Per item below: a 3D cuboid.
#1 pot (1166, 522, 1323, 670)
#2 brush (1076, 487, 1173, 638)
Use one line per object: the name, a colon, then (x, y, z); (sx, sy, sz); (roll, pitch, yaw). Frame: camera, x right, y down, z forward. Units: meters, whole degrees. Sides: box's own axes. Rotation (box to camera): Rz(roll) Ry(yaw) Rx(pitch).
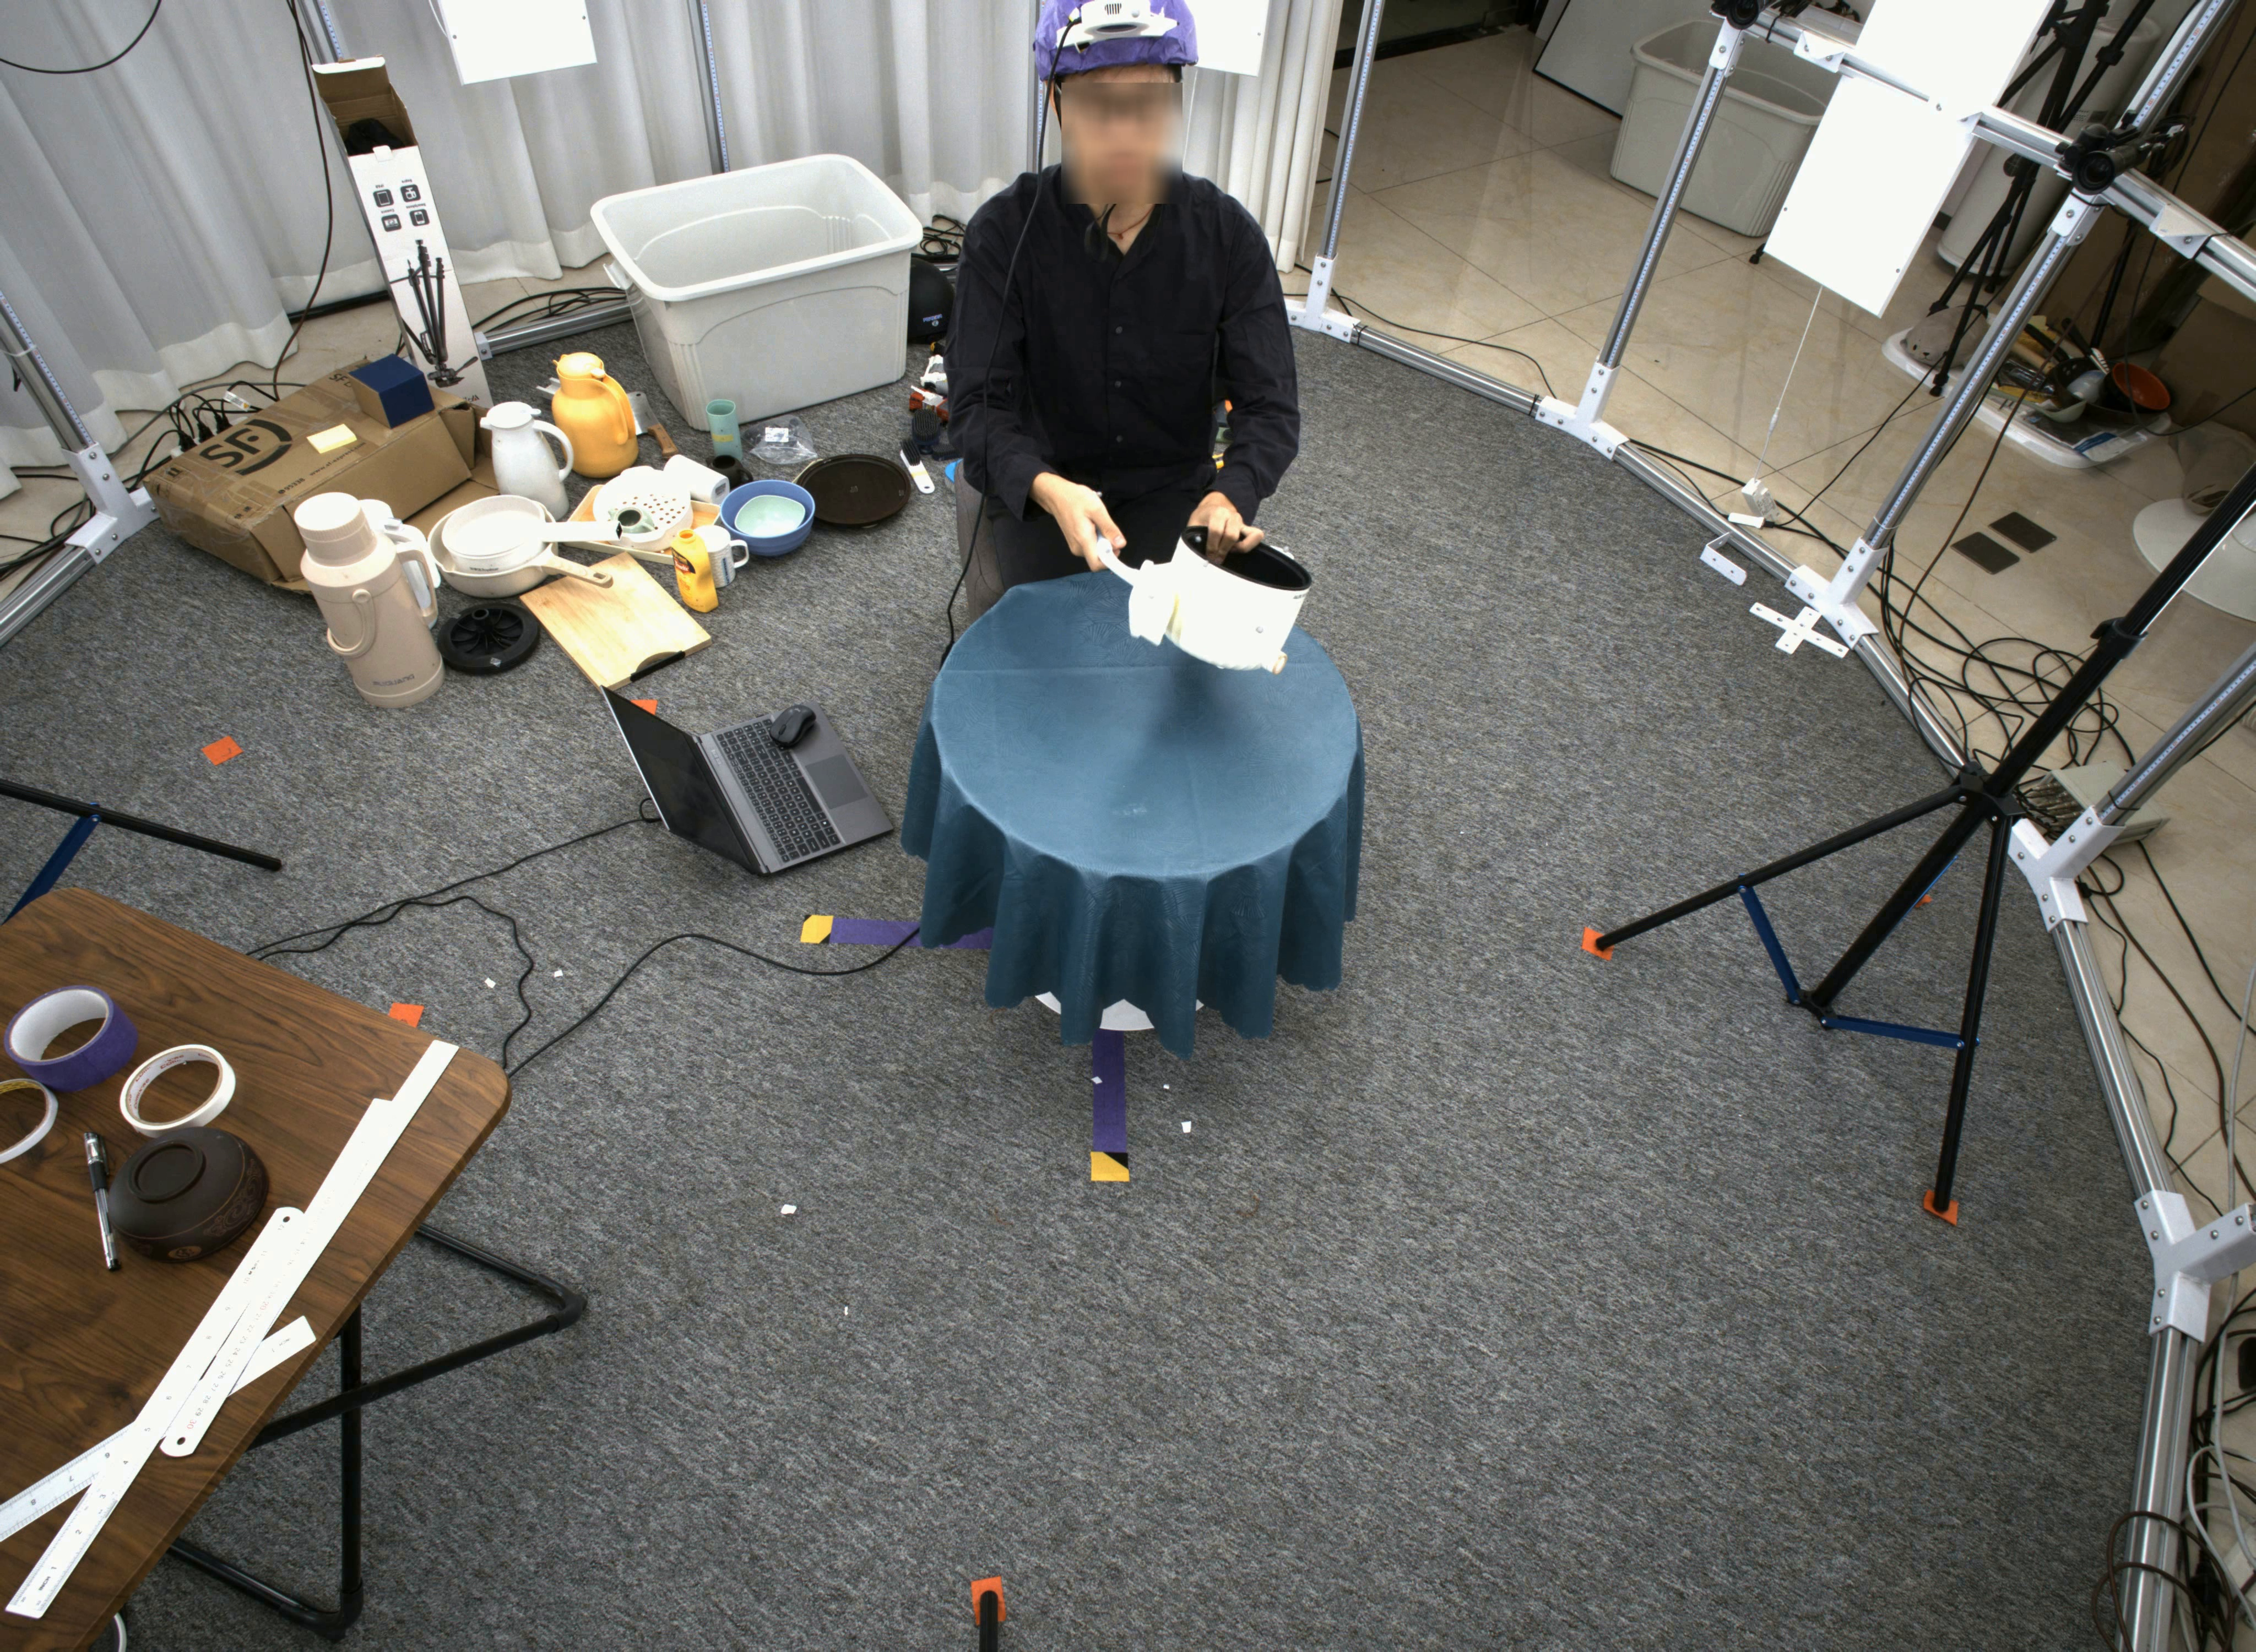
pot: (0.152, -0.298, 1.697); (0.192, 0.140, 0.242); (30, 30, 22)
brush: (0.011, -0.358, 1.704); (0.082, 0.083, 0.334); (-35, 43, 17)
